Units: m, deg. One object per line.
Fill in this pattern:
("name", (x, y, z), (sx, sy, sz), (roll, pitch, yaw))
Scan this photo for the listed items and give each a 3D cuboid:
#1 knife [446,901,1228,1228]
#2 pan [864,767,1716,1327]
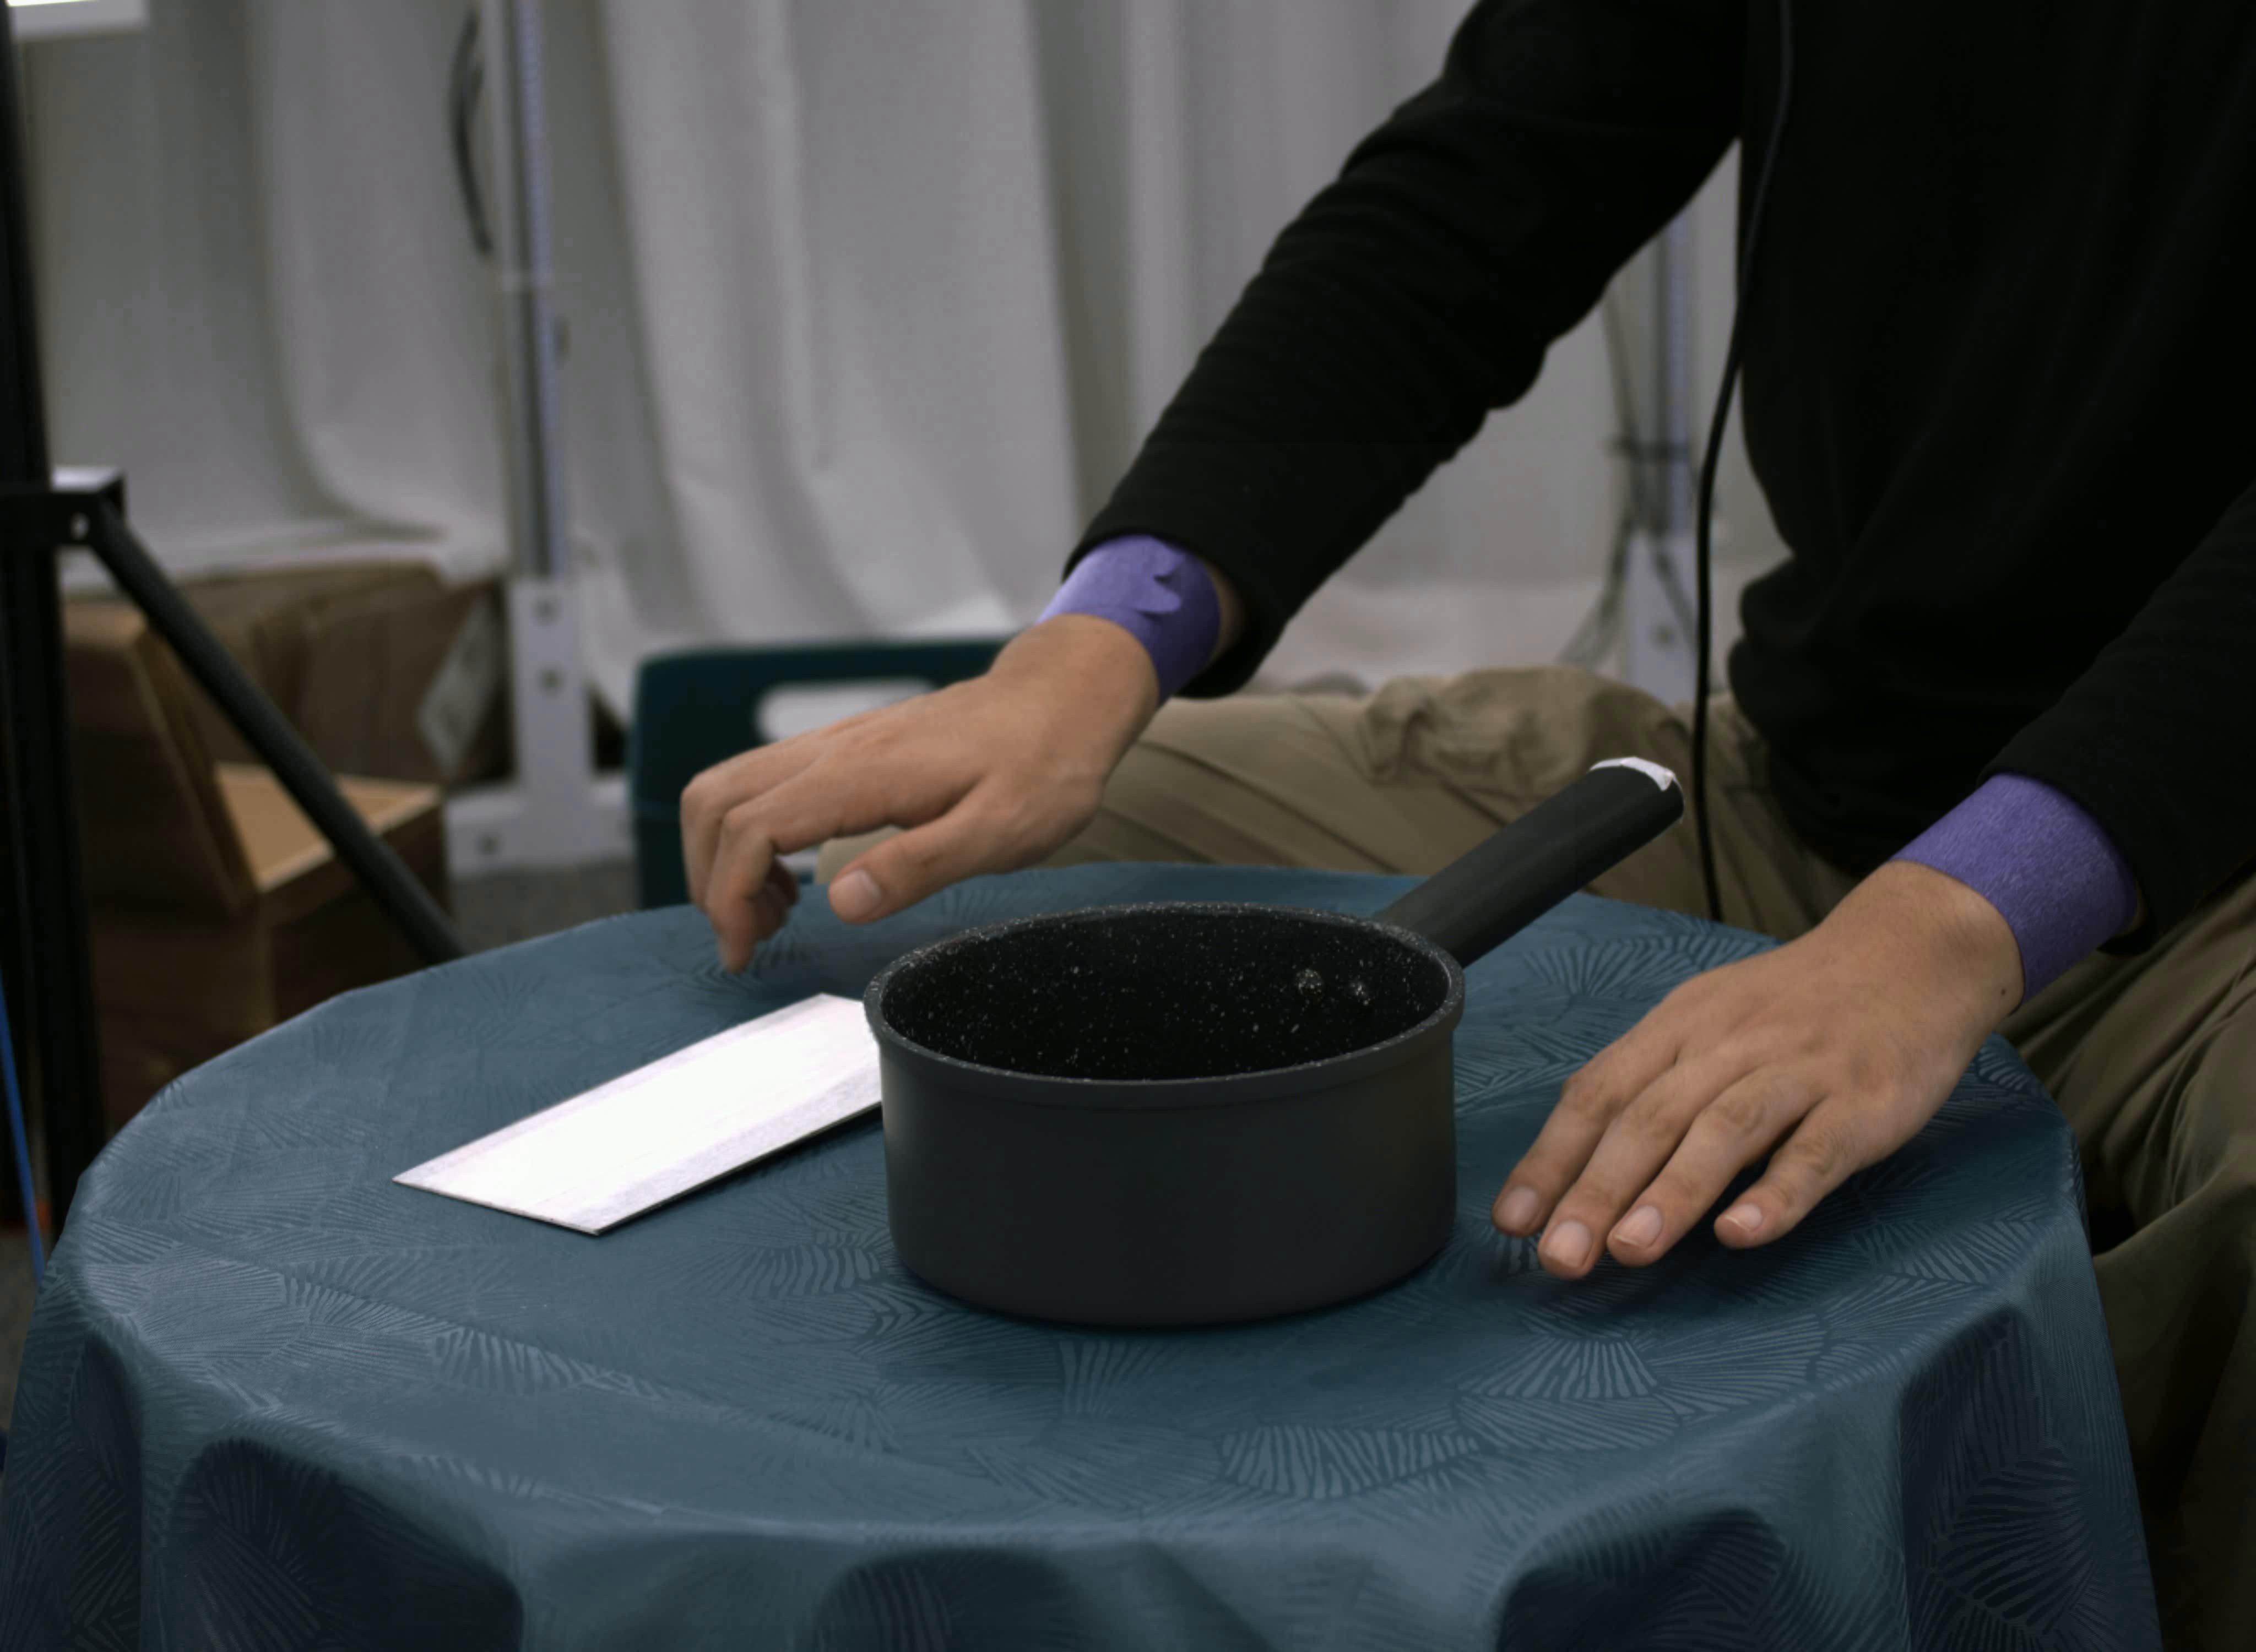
("knife", (-0.089, 0.071, 1.672), (0.095, 0.021, 0.299), (9, 22, 40))
("pan", (0.064, 0.061, 1.561), (0.176, 0.086, 0.321), (12, 22, 41))
